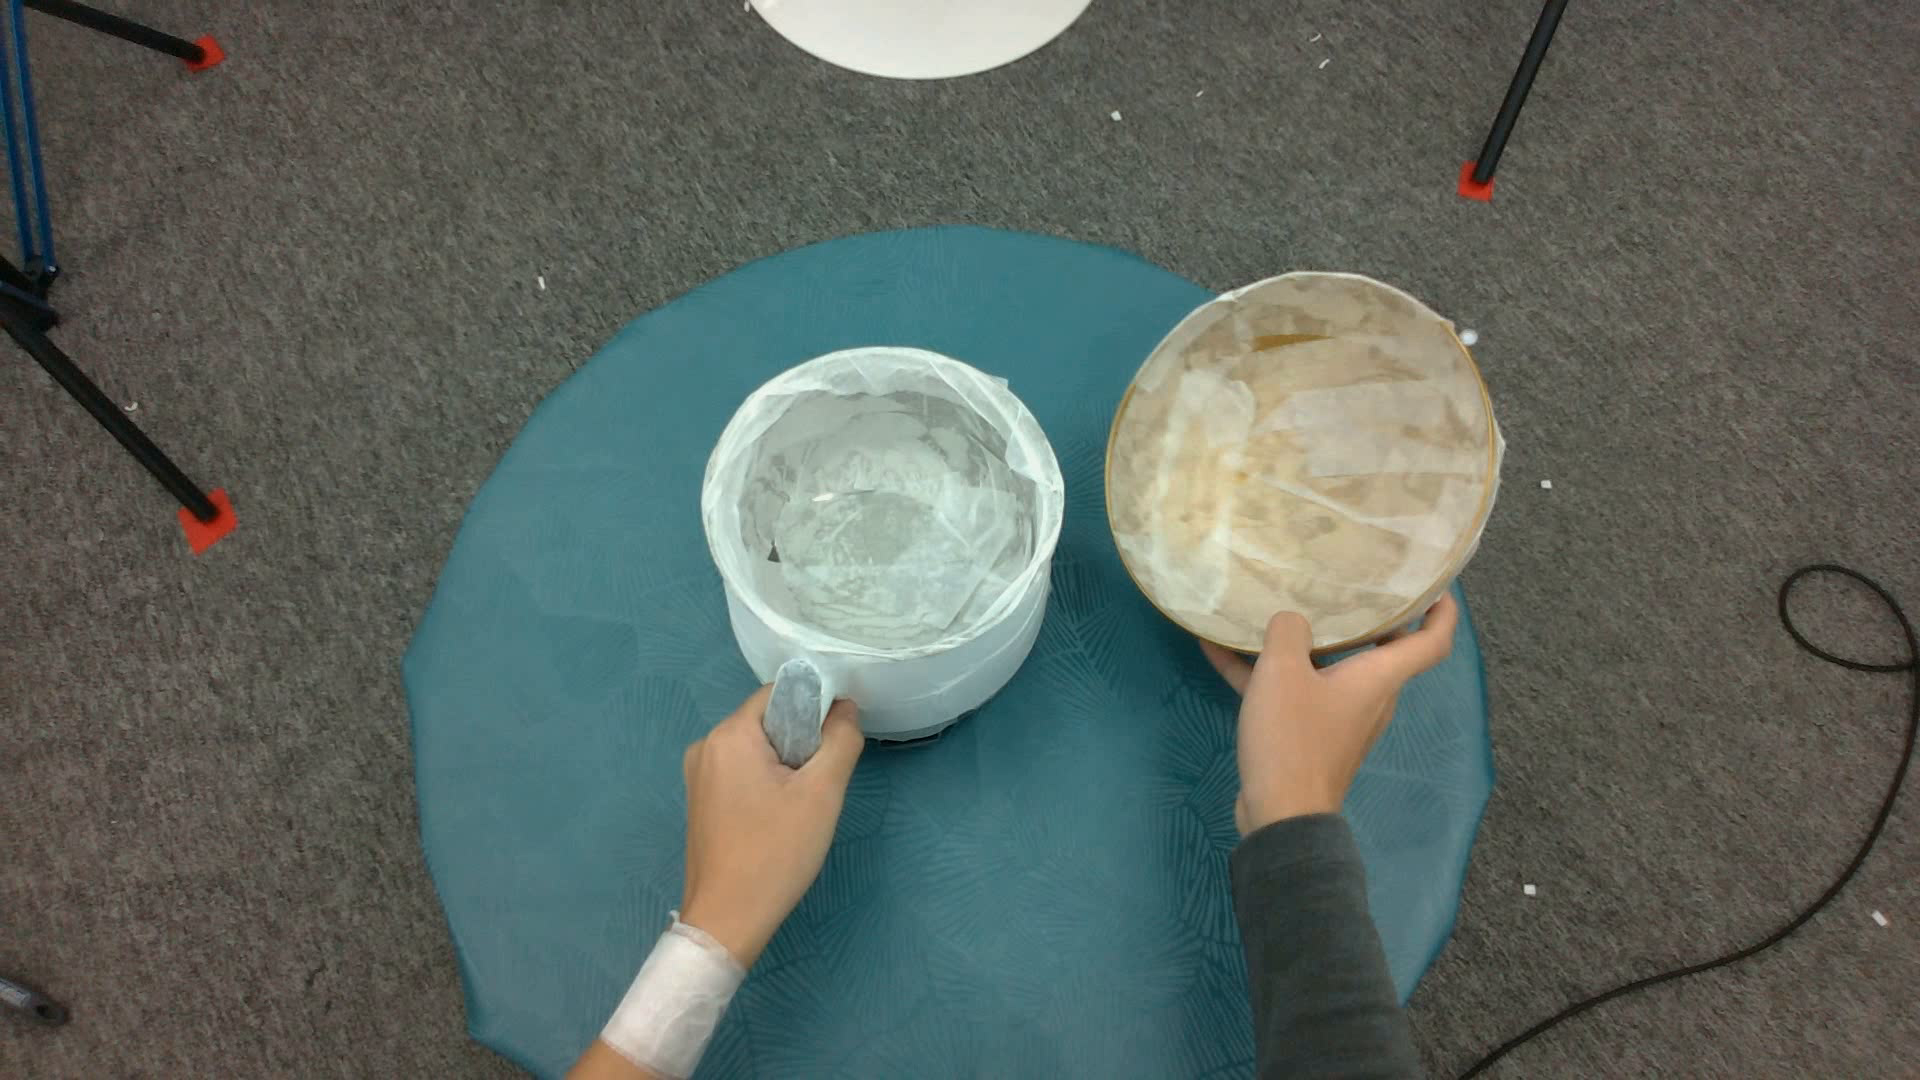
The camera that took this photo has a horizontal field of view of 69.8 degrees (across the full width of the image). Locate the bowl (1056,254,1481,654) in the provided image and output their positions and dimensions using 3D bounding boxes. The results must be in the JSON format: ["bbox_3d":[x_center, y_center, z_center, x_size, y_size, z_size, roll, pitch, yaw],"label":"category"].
[{"bbox_3d":[0.167,-0.038,0.738,0.214,0.094,0.215,-5,76,18],"label":"bowl"}]

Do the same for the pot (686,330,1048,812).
[{"bbox_3d":[-0.056,0.022,0.717,0.178,0.136,0.234,18,64,7],"label":"pot"}]
